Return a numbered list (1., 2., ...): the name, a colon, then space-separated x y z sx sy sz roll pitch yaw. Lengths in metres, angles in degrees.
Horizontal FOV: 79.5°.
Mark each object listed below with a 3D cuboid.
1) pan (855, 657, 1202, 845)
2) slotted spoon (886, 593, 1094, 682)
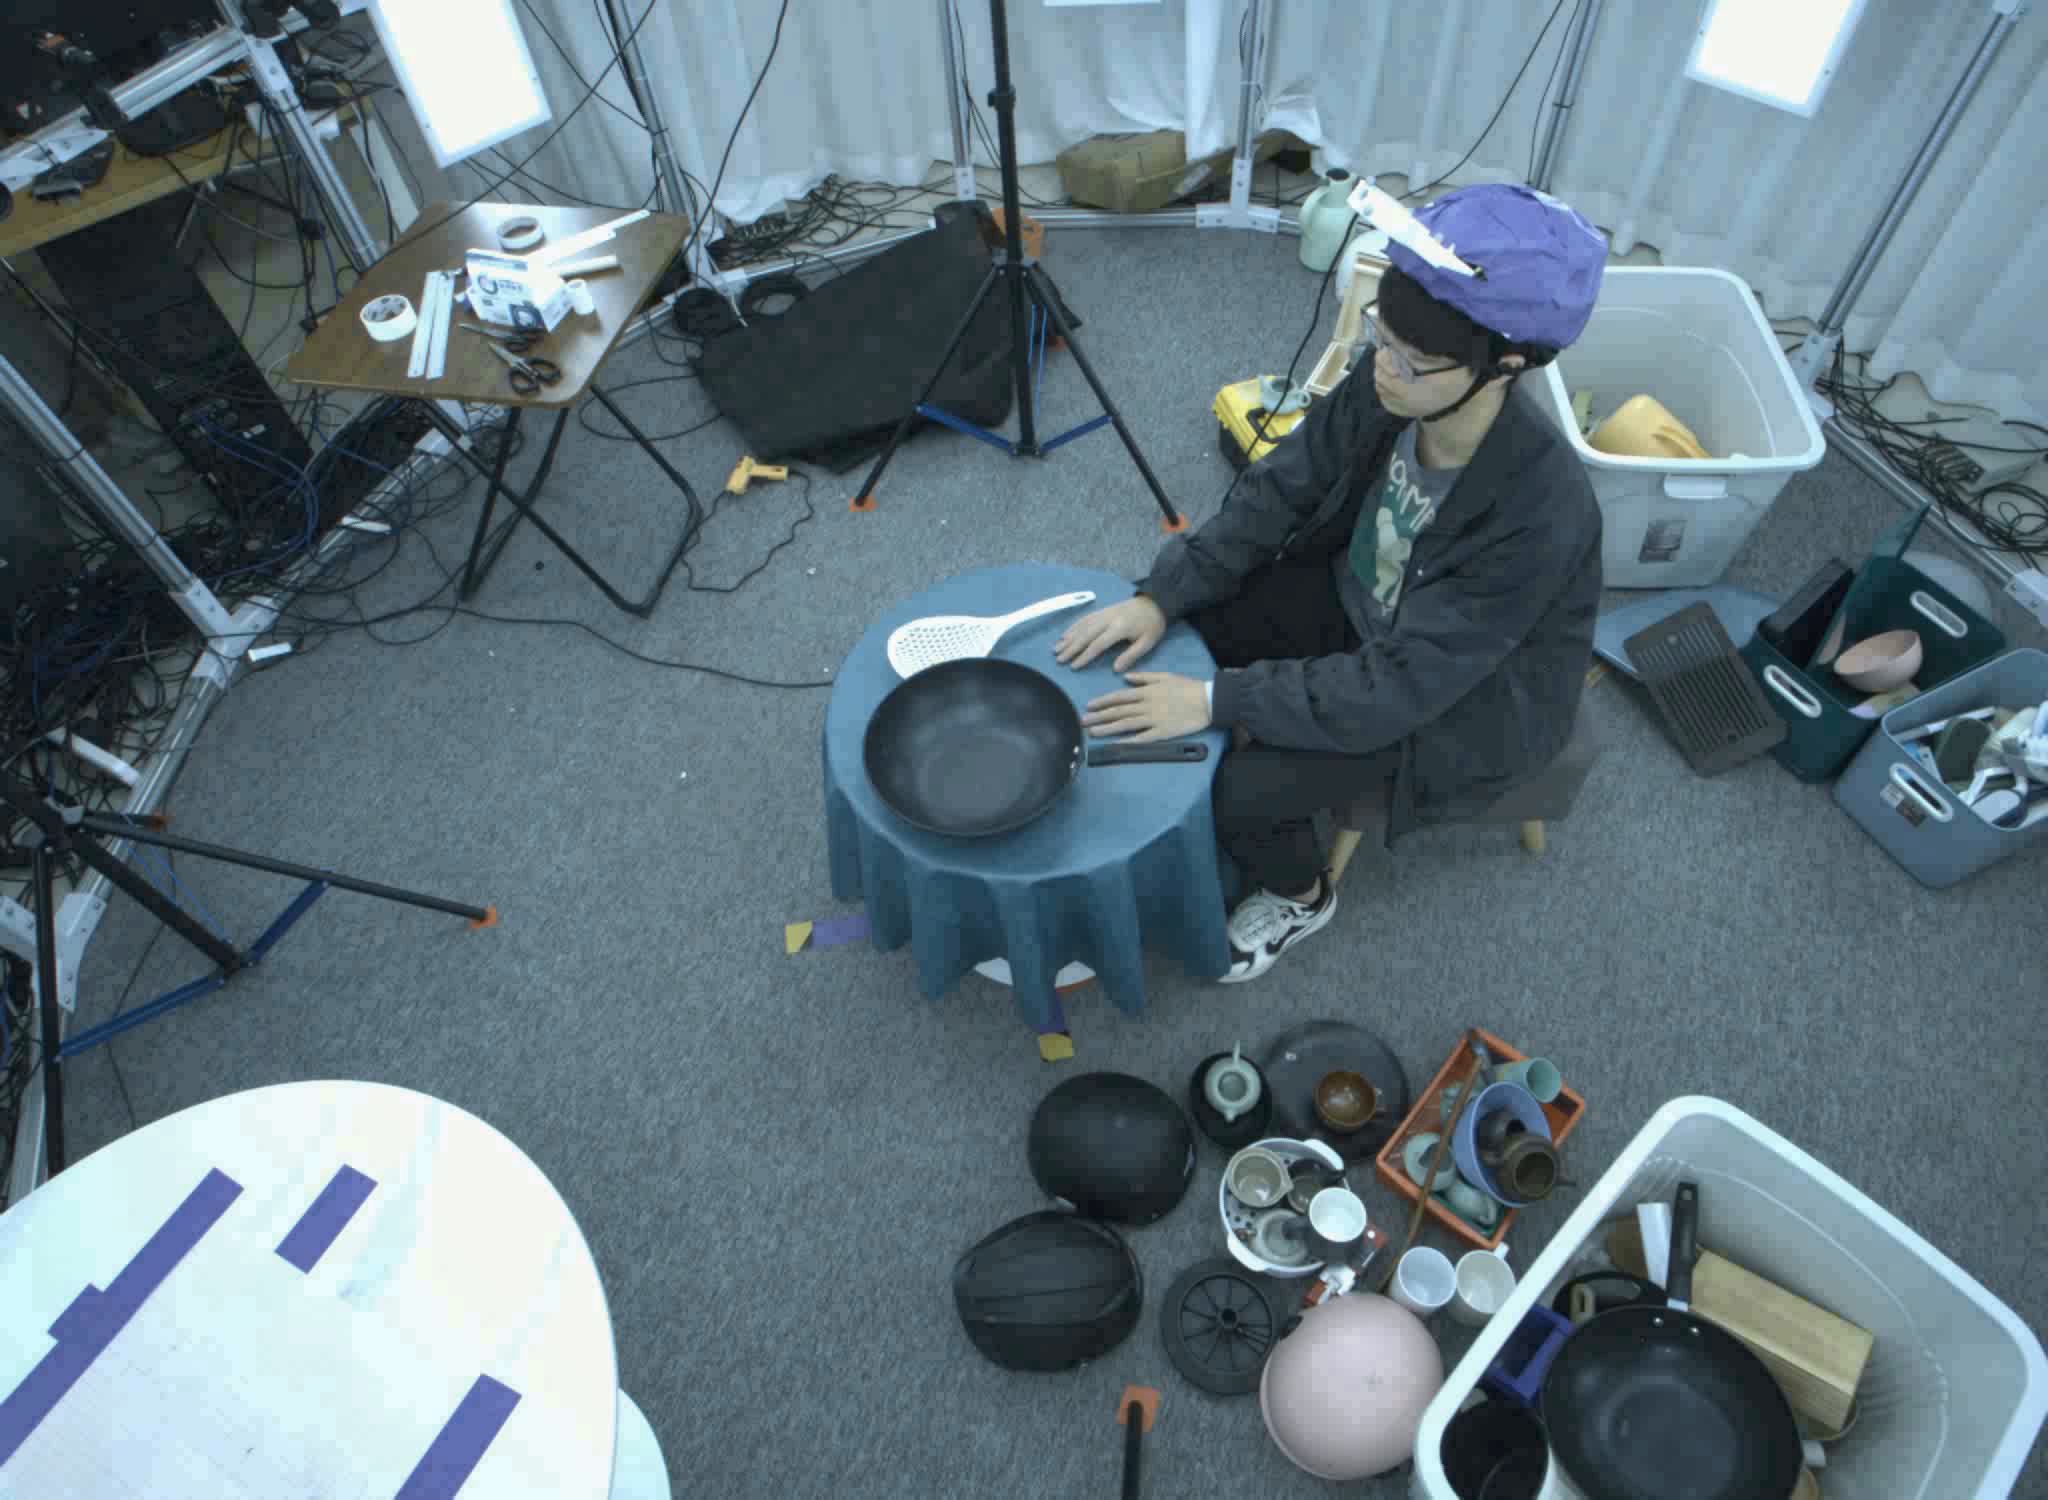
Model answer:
1. pan: 0.005 0.015 1.703 0.475 0.113 0.308 5 56 6
2. slotted spoon: -0.043 -0.185 1.888 0.350 0.051 0.134 -24 55 -15
